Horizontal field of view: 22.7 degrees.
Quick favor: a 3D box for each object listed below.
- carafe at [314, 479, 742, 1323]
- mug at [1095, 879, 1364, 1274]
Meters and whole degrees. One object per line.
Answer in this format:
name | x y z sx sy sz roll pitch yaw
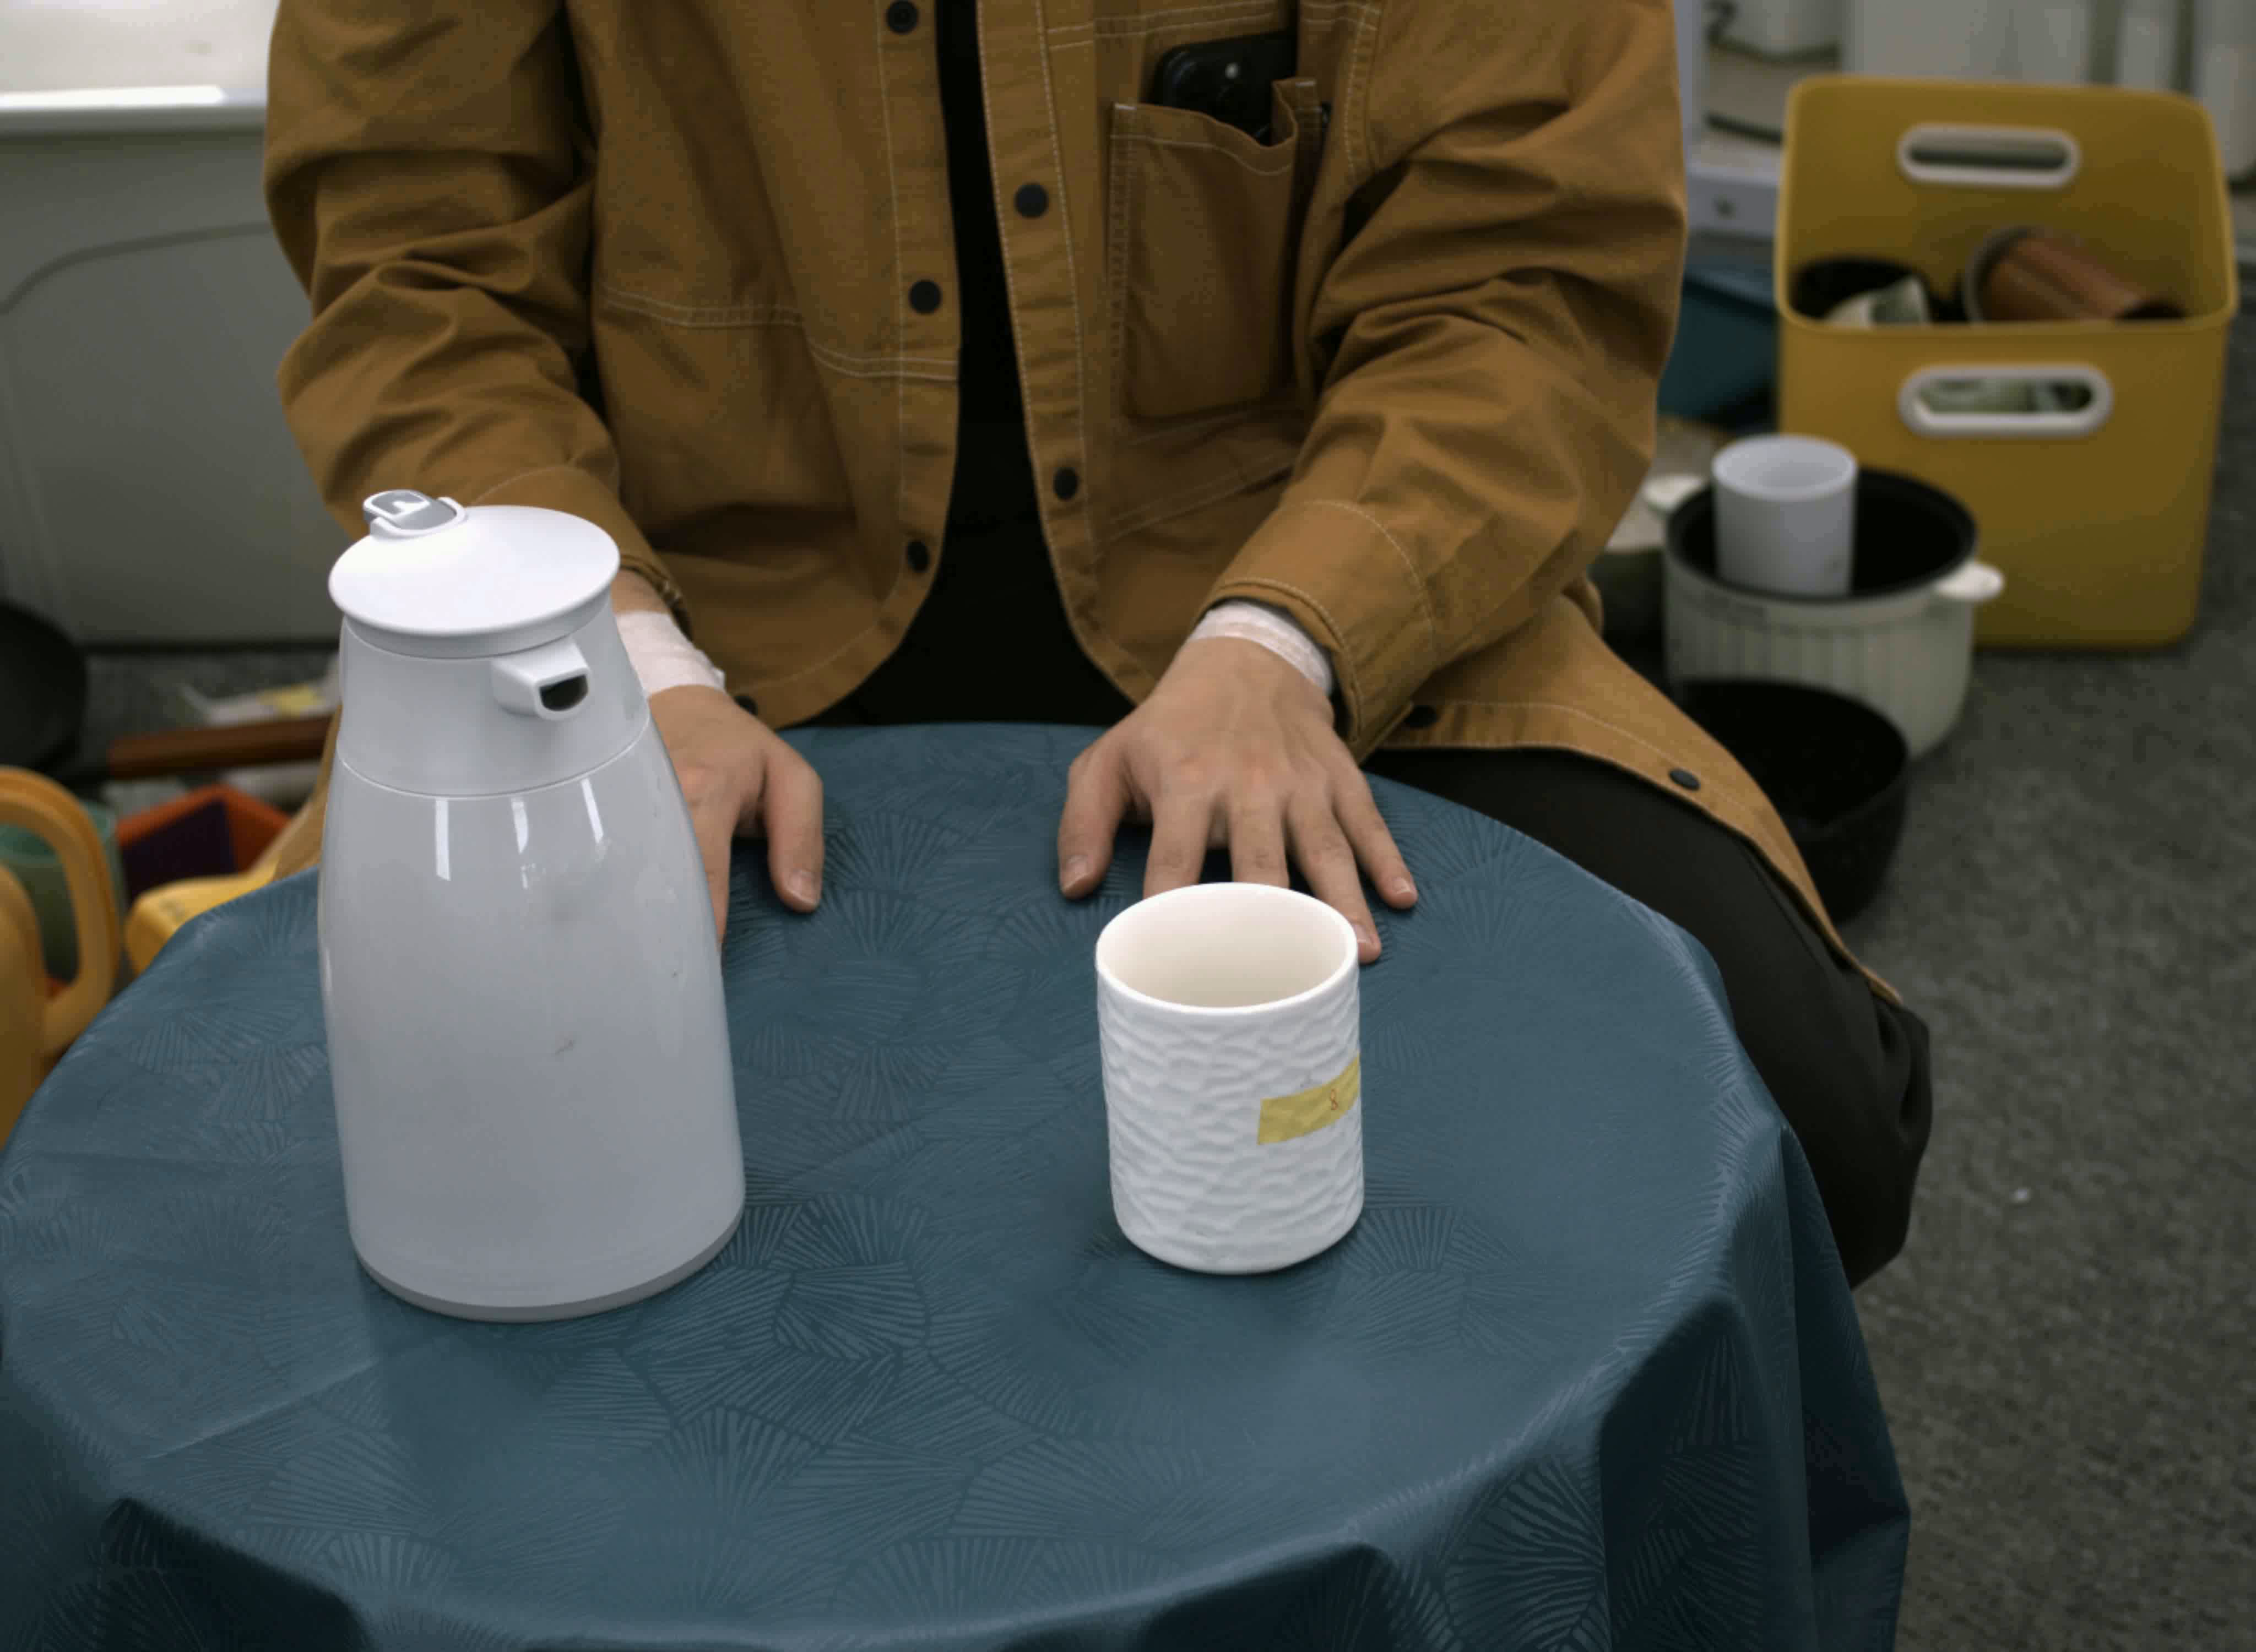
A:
carafe | -0.210 0.014 1.821 0.133 0.246 0.168 -19 30 -27
mug | 0.027 0.076 1.834 0.085 0.101 0.119 -13 28 -21
